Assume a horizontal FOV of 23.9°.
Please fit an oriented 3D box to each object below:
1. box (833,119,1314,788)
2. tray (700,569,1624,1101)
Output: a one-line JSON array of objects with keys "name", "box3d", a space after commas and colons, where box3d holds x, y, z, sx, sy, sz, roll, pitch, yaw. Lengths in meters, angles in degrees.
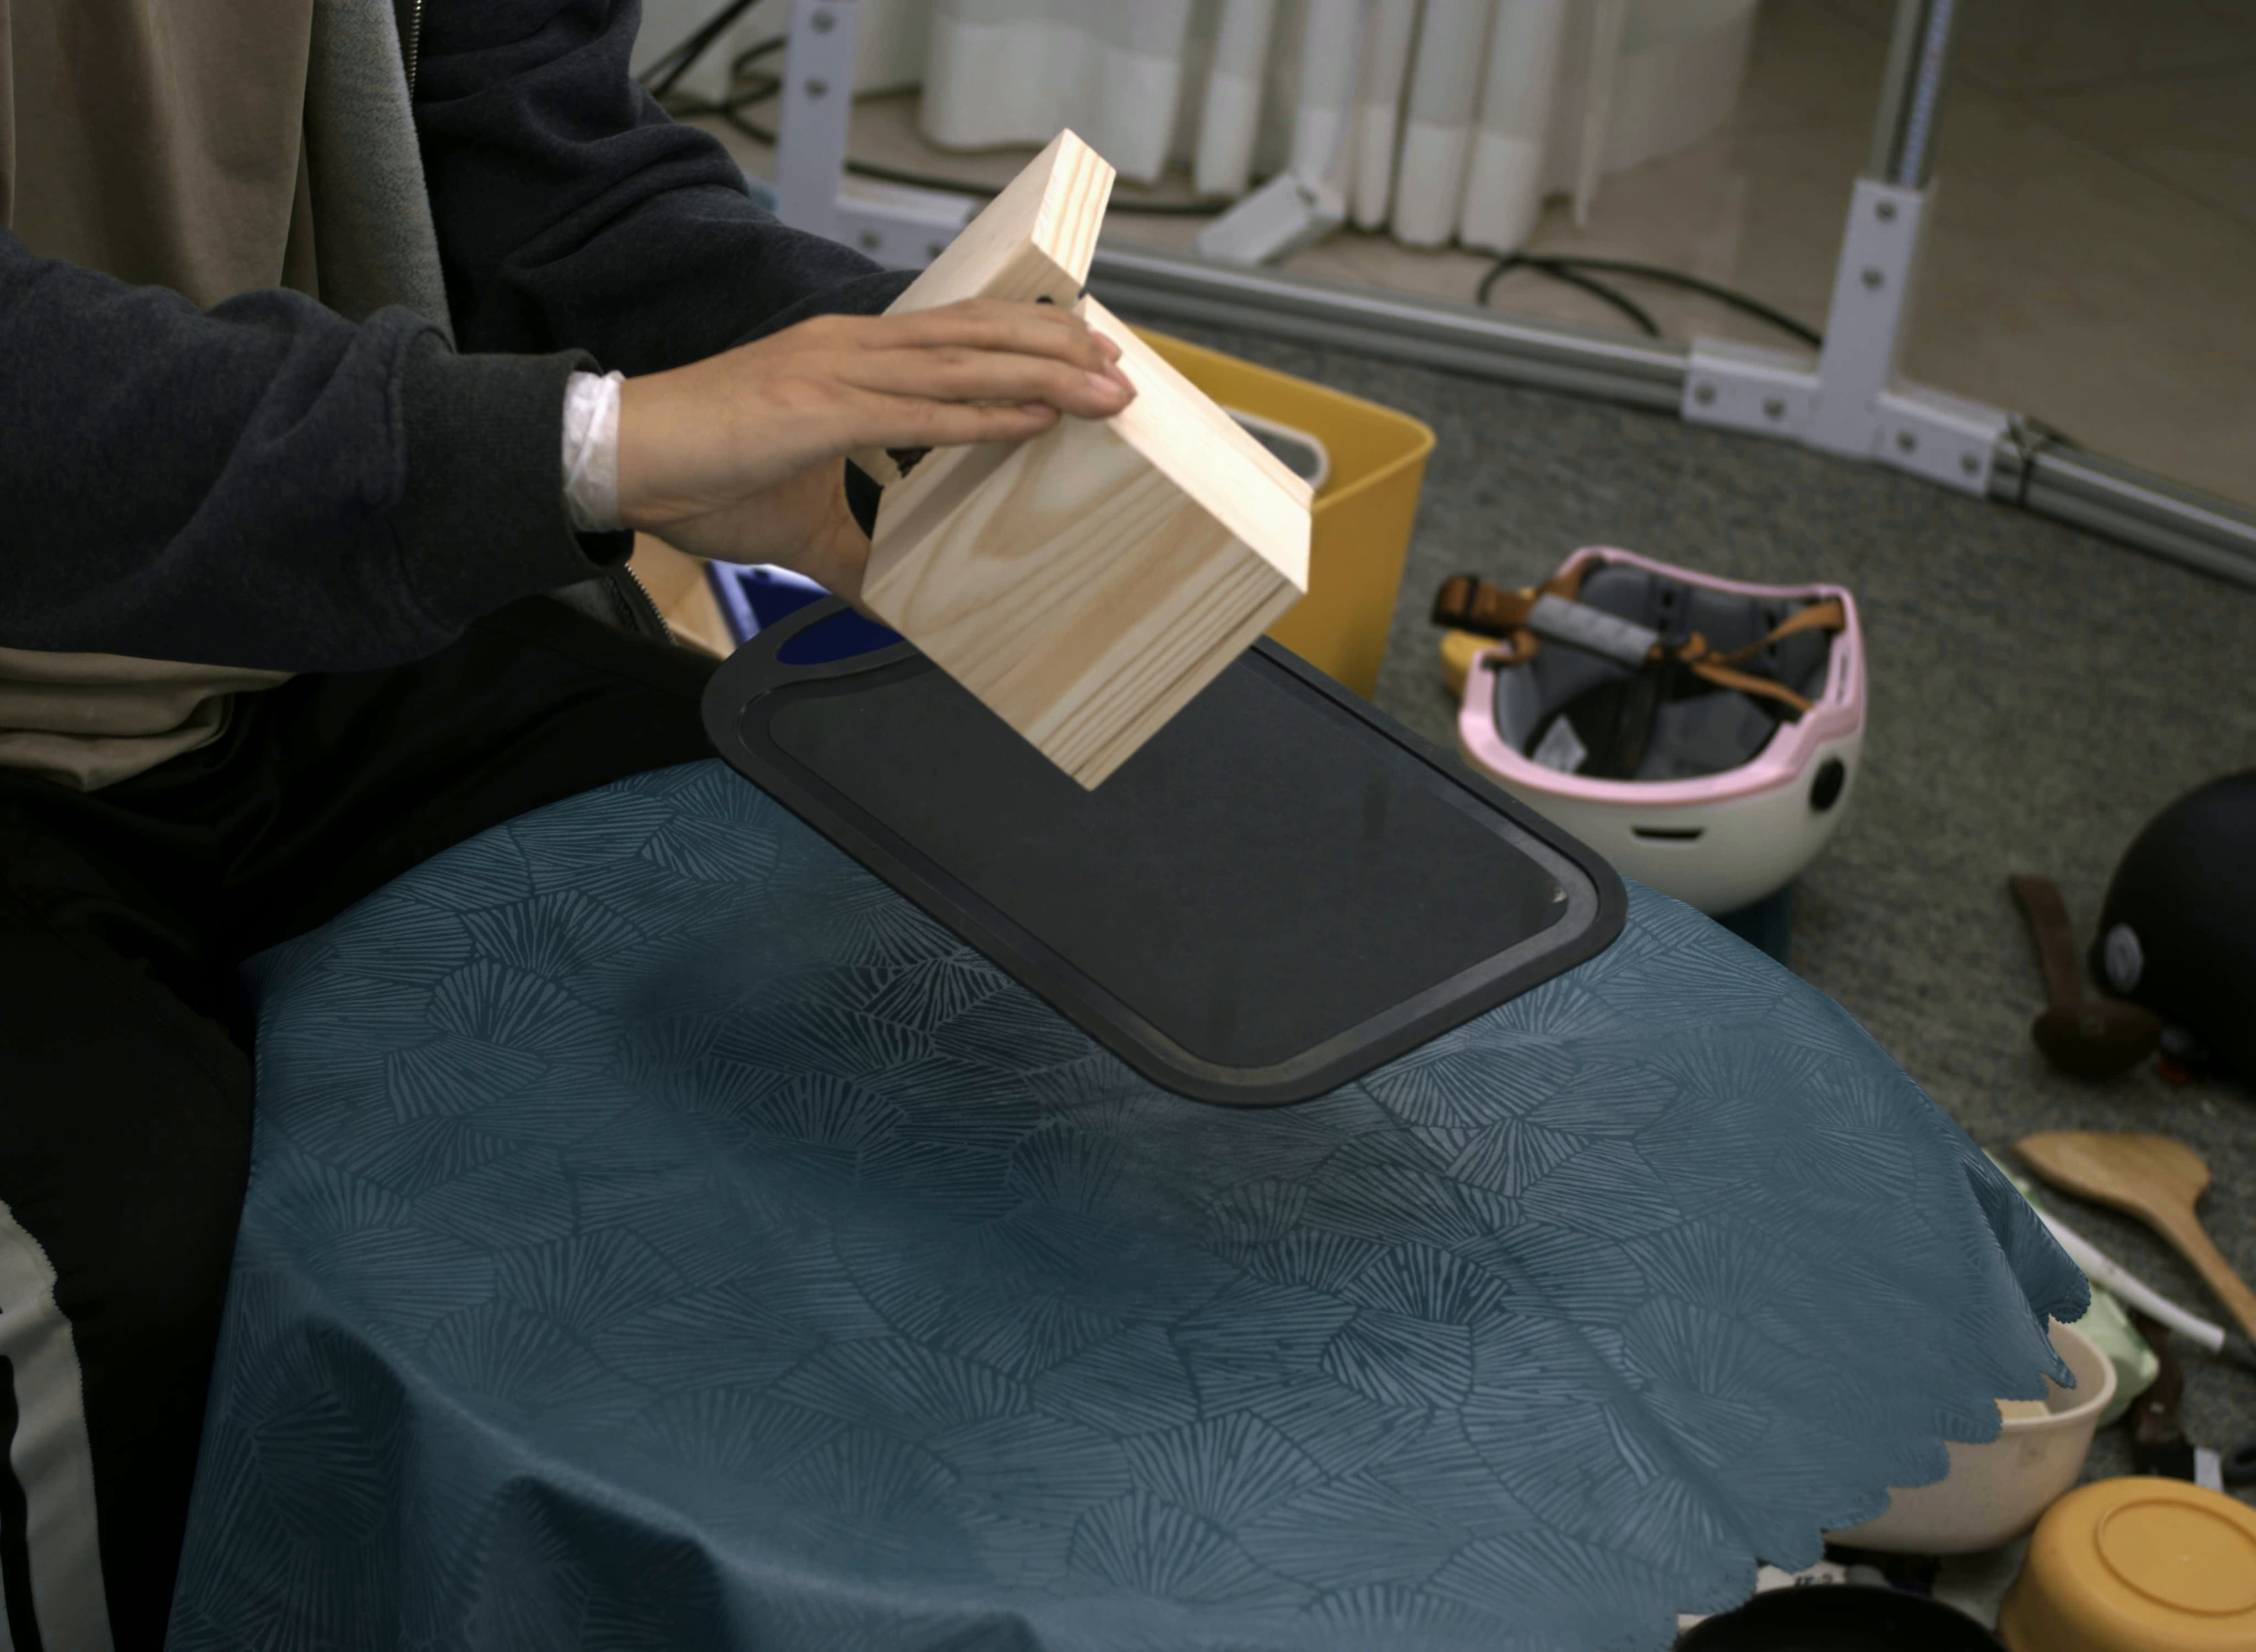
[{"name": "box", "box3d": [-0.015, -0.124, 1.751, 0.133, 0.102, 0.185, 38, 26, -18]}, {"name": "tray", "box3d": [0.003, -0.012, 1.845, 0.210, 0.010, 0.328, -24, 44, -34]}]
